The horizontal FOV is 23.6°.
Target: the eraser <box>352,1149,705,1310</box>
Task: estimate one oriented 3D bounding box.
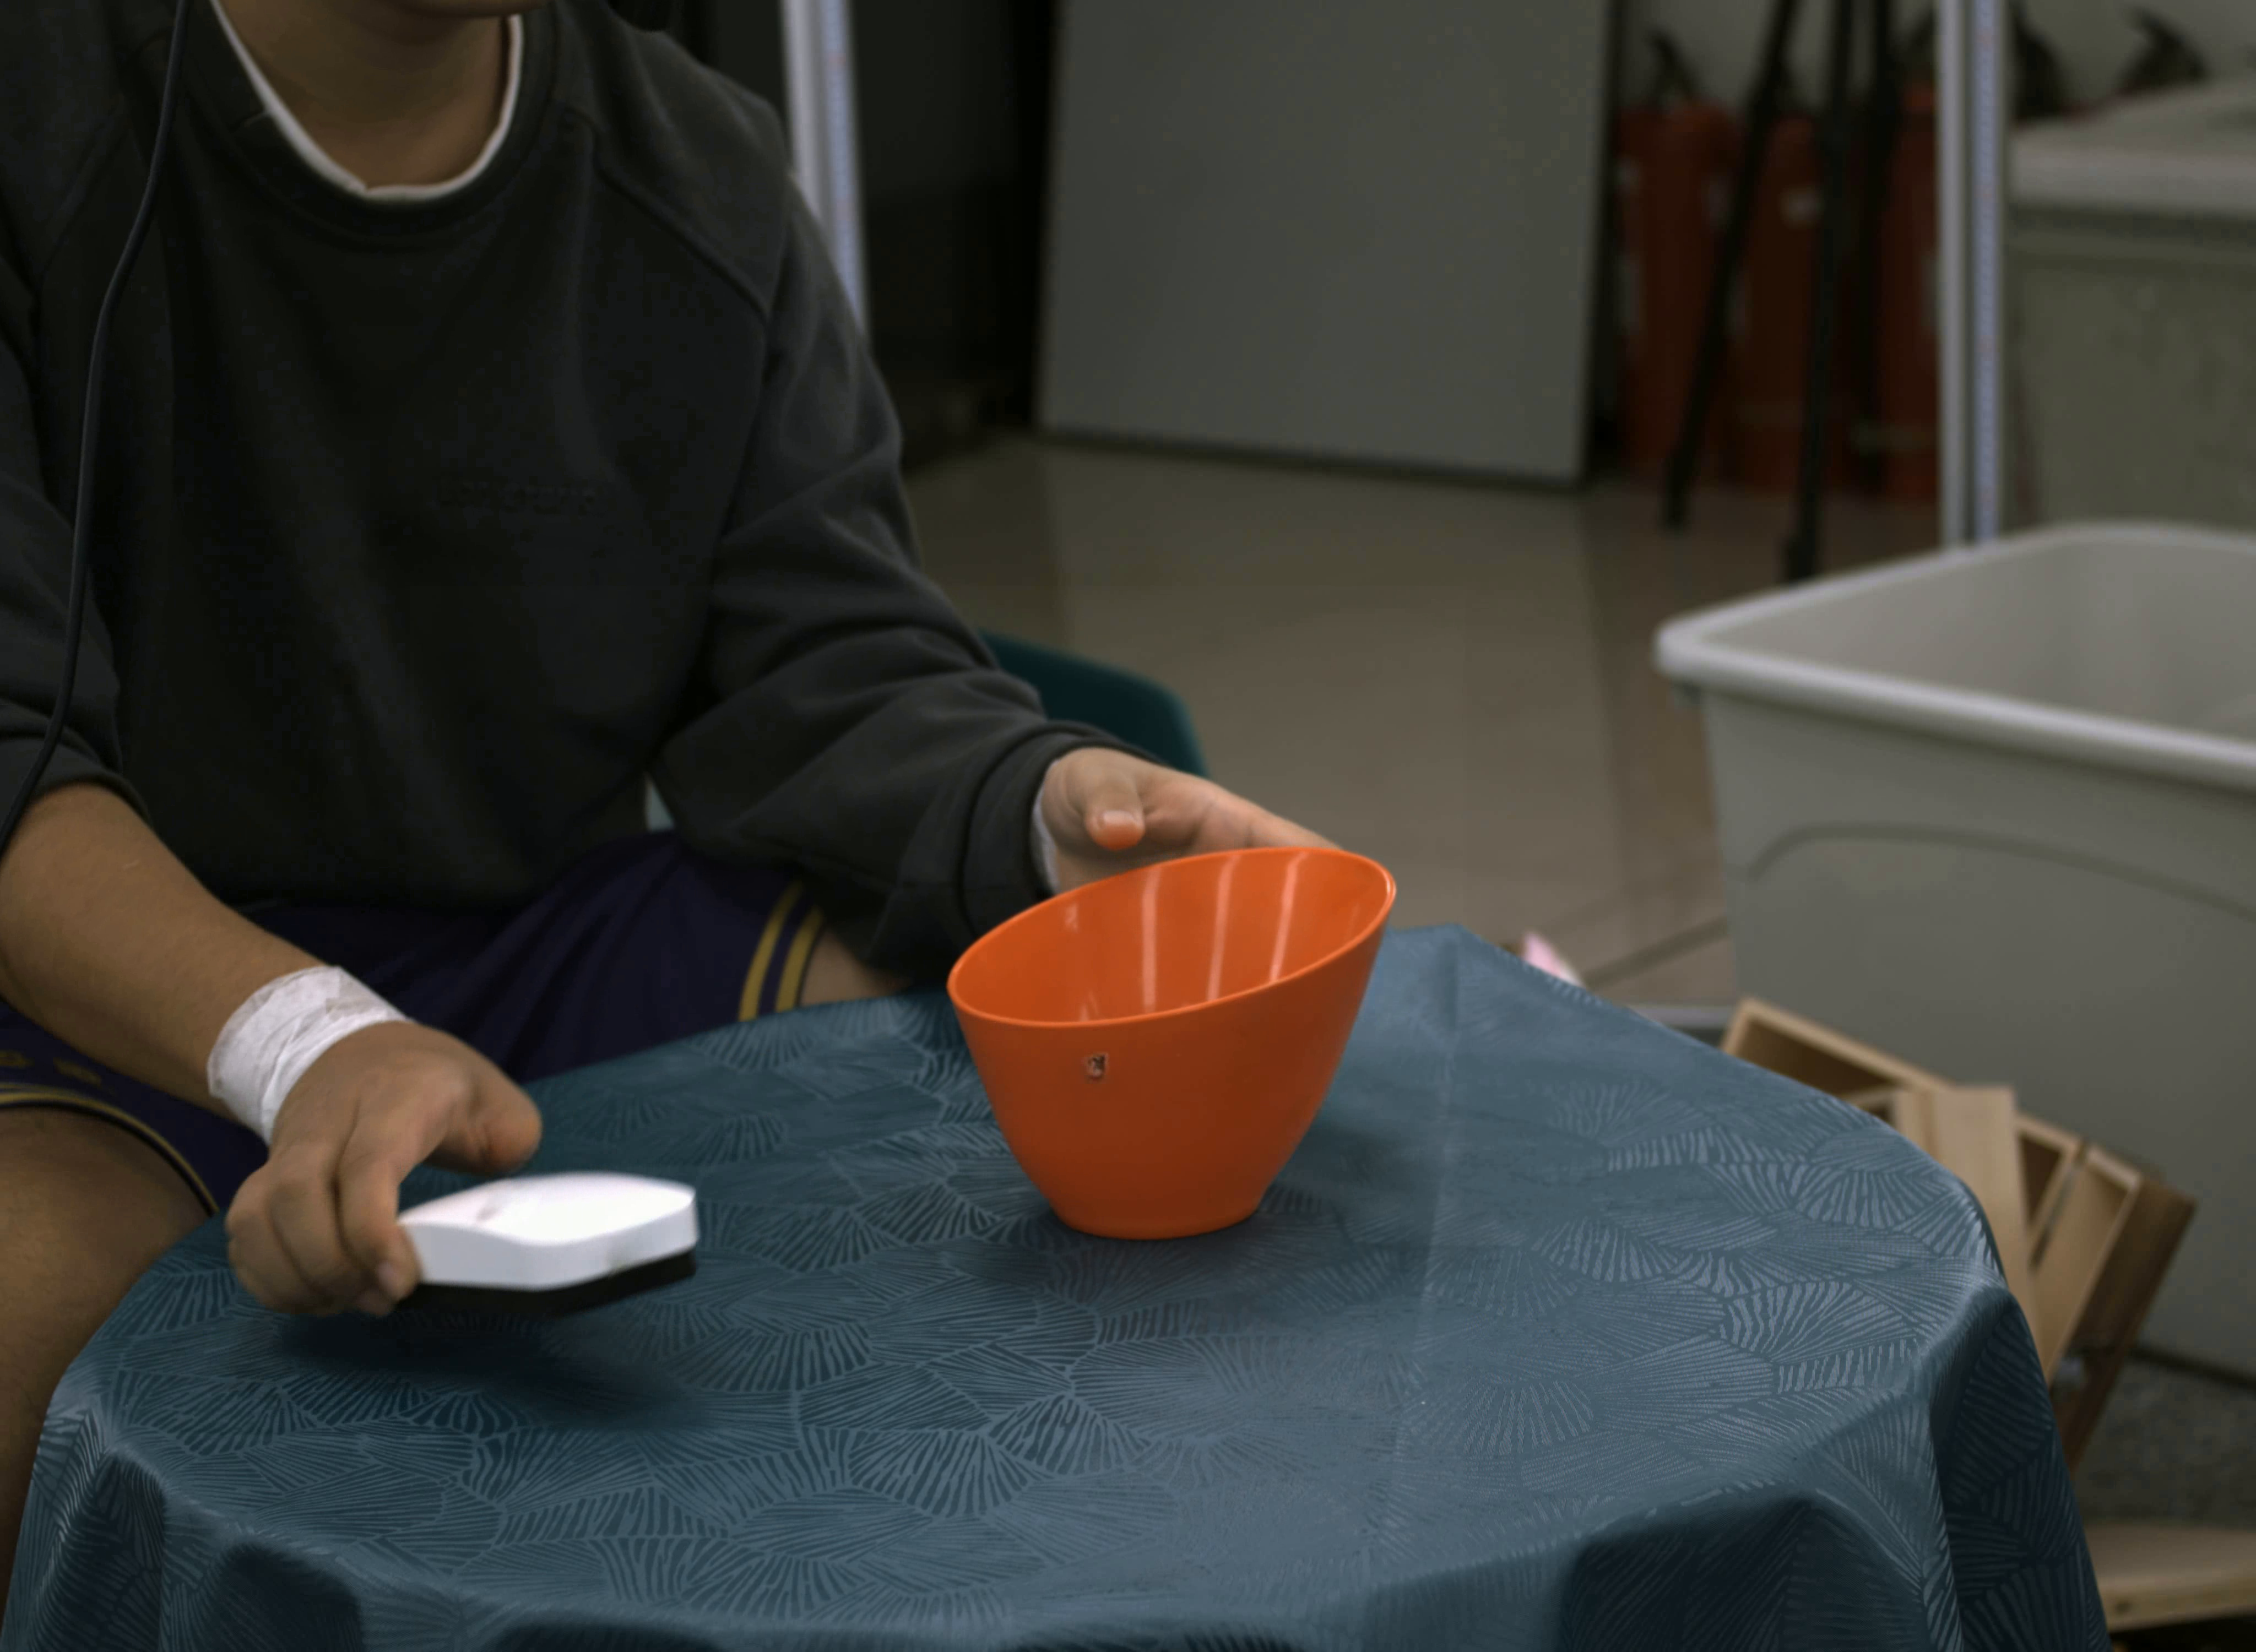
[{"bbox_3d":[-0.180,0.122,1.632,0.062,0.035,0.132,-14,7,-35],"label":"eraser"}]

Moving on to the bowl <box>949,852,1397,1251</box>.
[{"bbox_3d":[0.018,0.075,1.740,0.146,0.106,0.148,-5,14,0],"label":"bowl"}]
